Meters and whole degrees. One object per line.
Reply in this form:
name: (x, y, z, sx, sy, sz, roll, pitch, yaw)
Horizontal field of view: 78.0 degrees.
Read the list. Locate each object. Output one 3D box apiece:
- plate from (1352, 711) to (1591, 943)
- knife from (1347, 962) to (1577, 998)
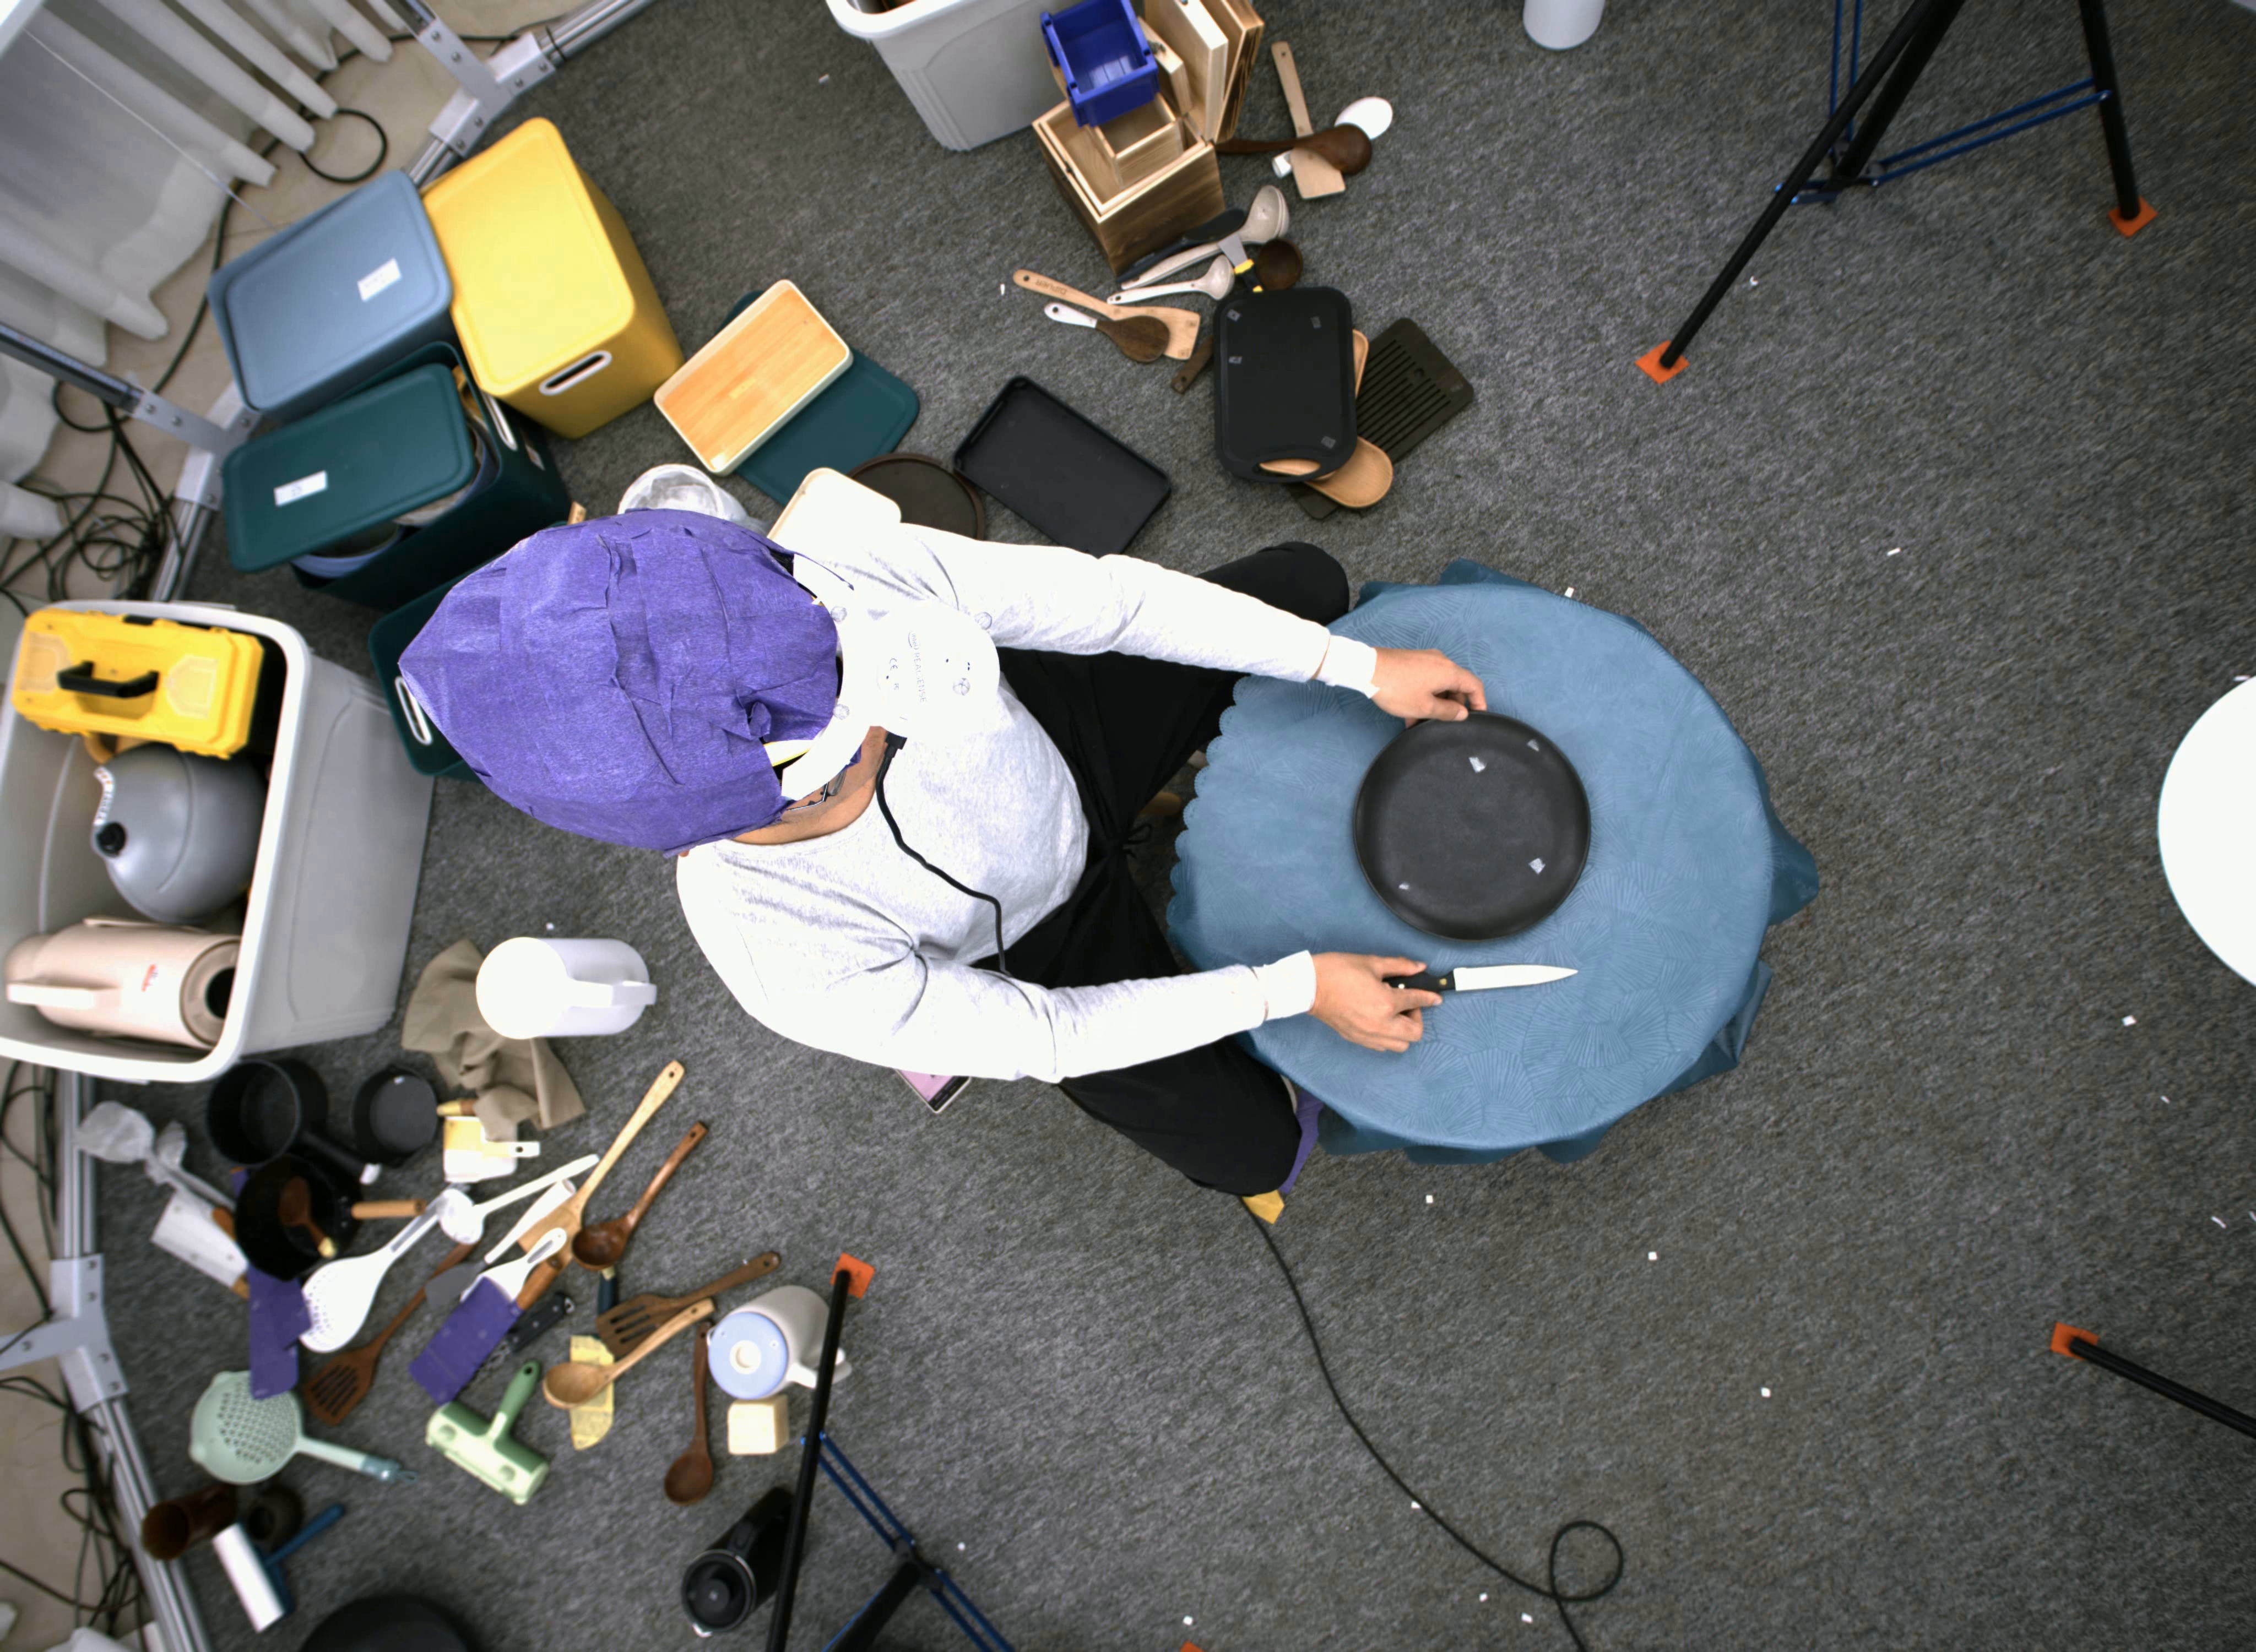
plate: (0.357, -0.001, 1.436, 0.245, 0.023, 0.243, -1, 87, 11)
knife: (0.347, 0.158, 1.430, 0.239, 0.016, 0.024, -6, 78, 5)
